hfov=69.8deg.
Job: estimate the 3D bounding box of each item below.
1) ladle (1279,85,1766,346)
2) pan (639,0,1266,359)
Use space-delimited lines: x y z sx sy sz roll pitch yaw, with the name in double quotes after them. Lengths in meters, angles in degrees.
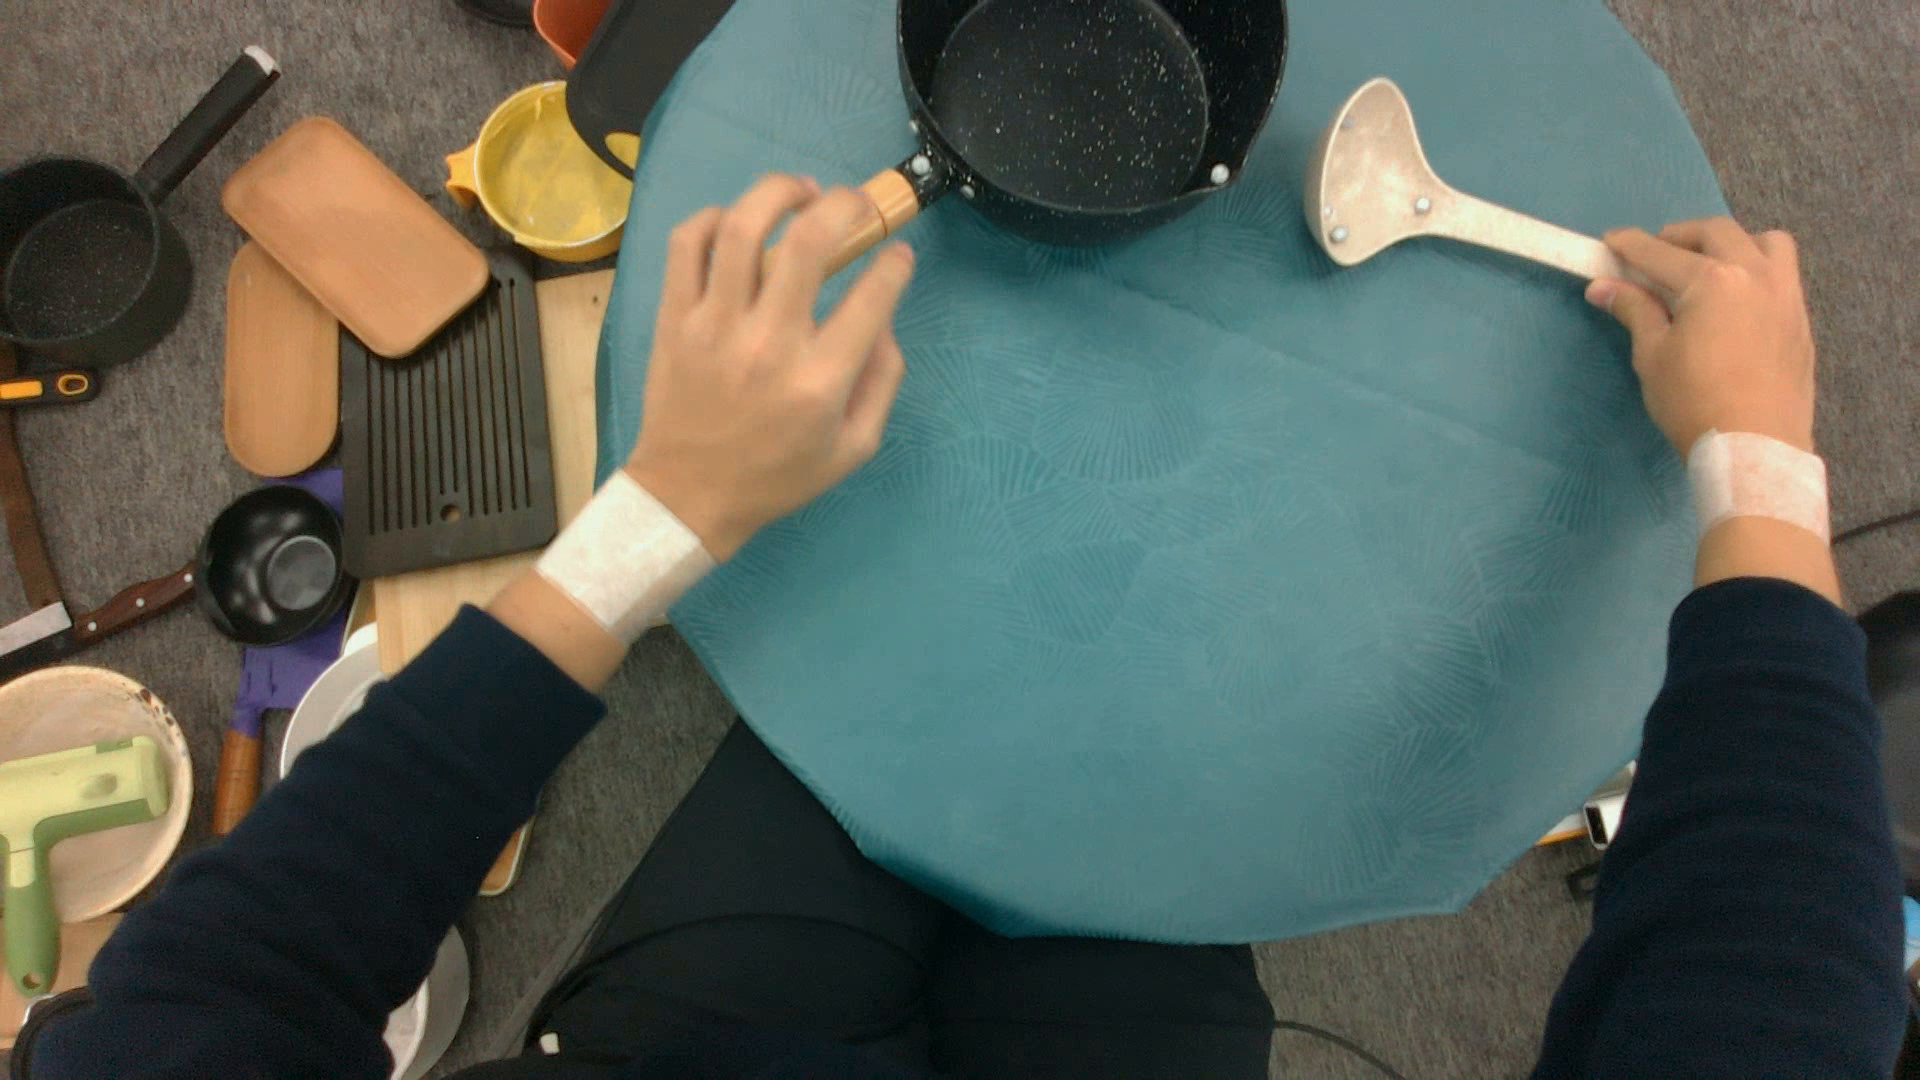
0.295 -0.151 0.697 0.275 0.069 0.089 18 88 0 "ladle"
-0.007 -0.185 0.663 0.343 0.108 0.207 -42 86 -11 "pan"
